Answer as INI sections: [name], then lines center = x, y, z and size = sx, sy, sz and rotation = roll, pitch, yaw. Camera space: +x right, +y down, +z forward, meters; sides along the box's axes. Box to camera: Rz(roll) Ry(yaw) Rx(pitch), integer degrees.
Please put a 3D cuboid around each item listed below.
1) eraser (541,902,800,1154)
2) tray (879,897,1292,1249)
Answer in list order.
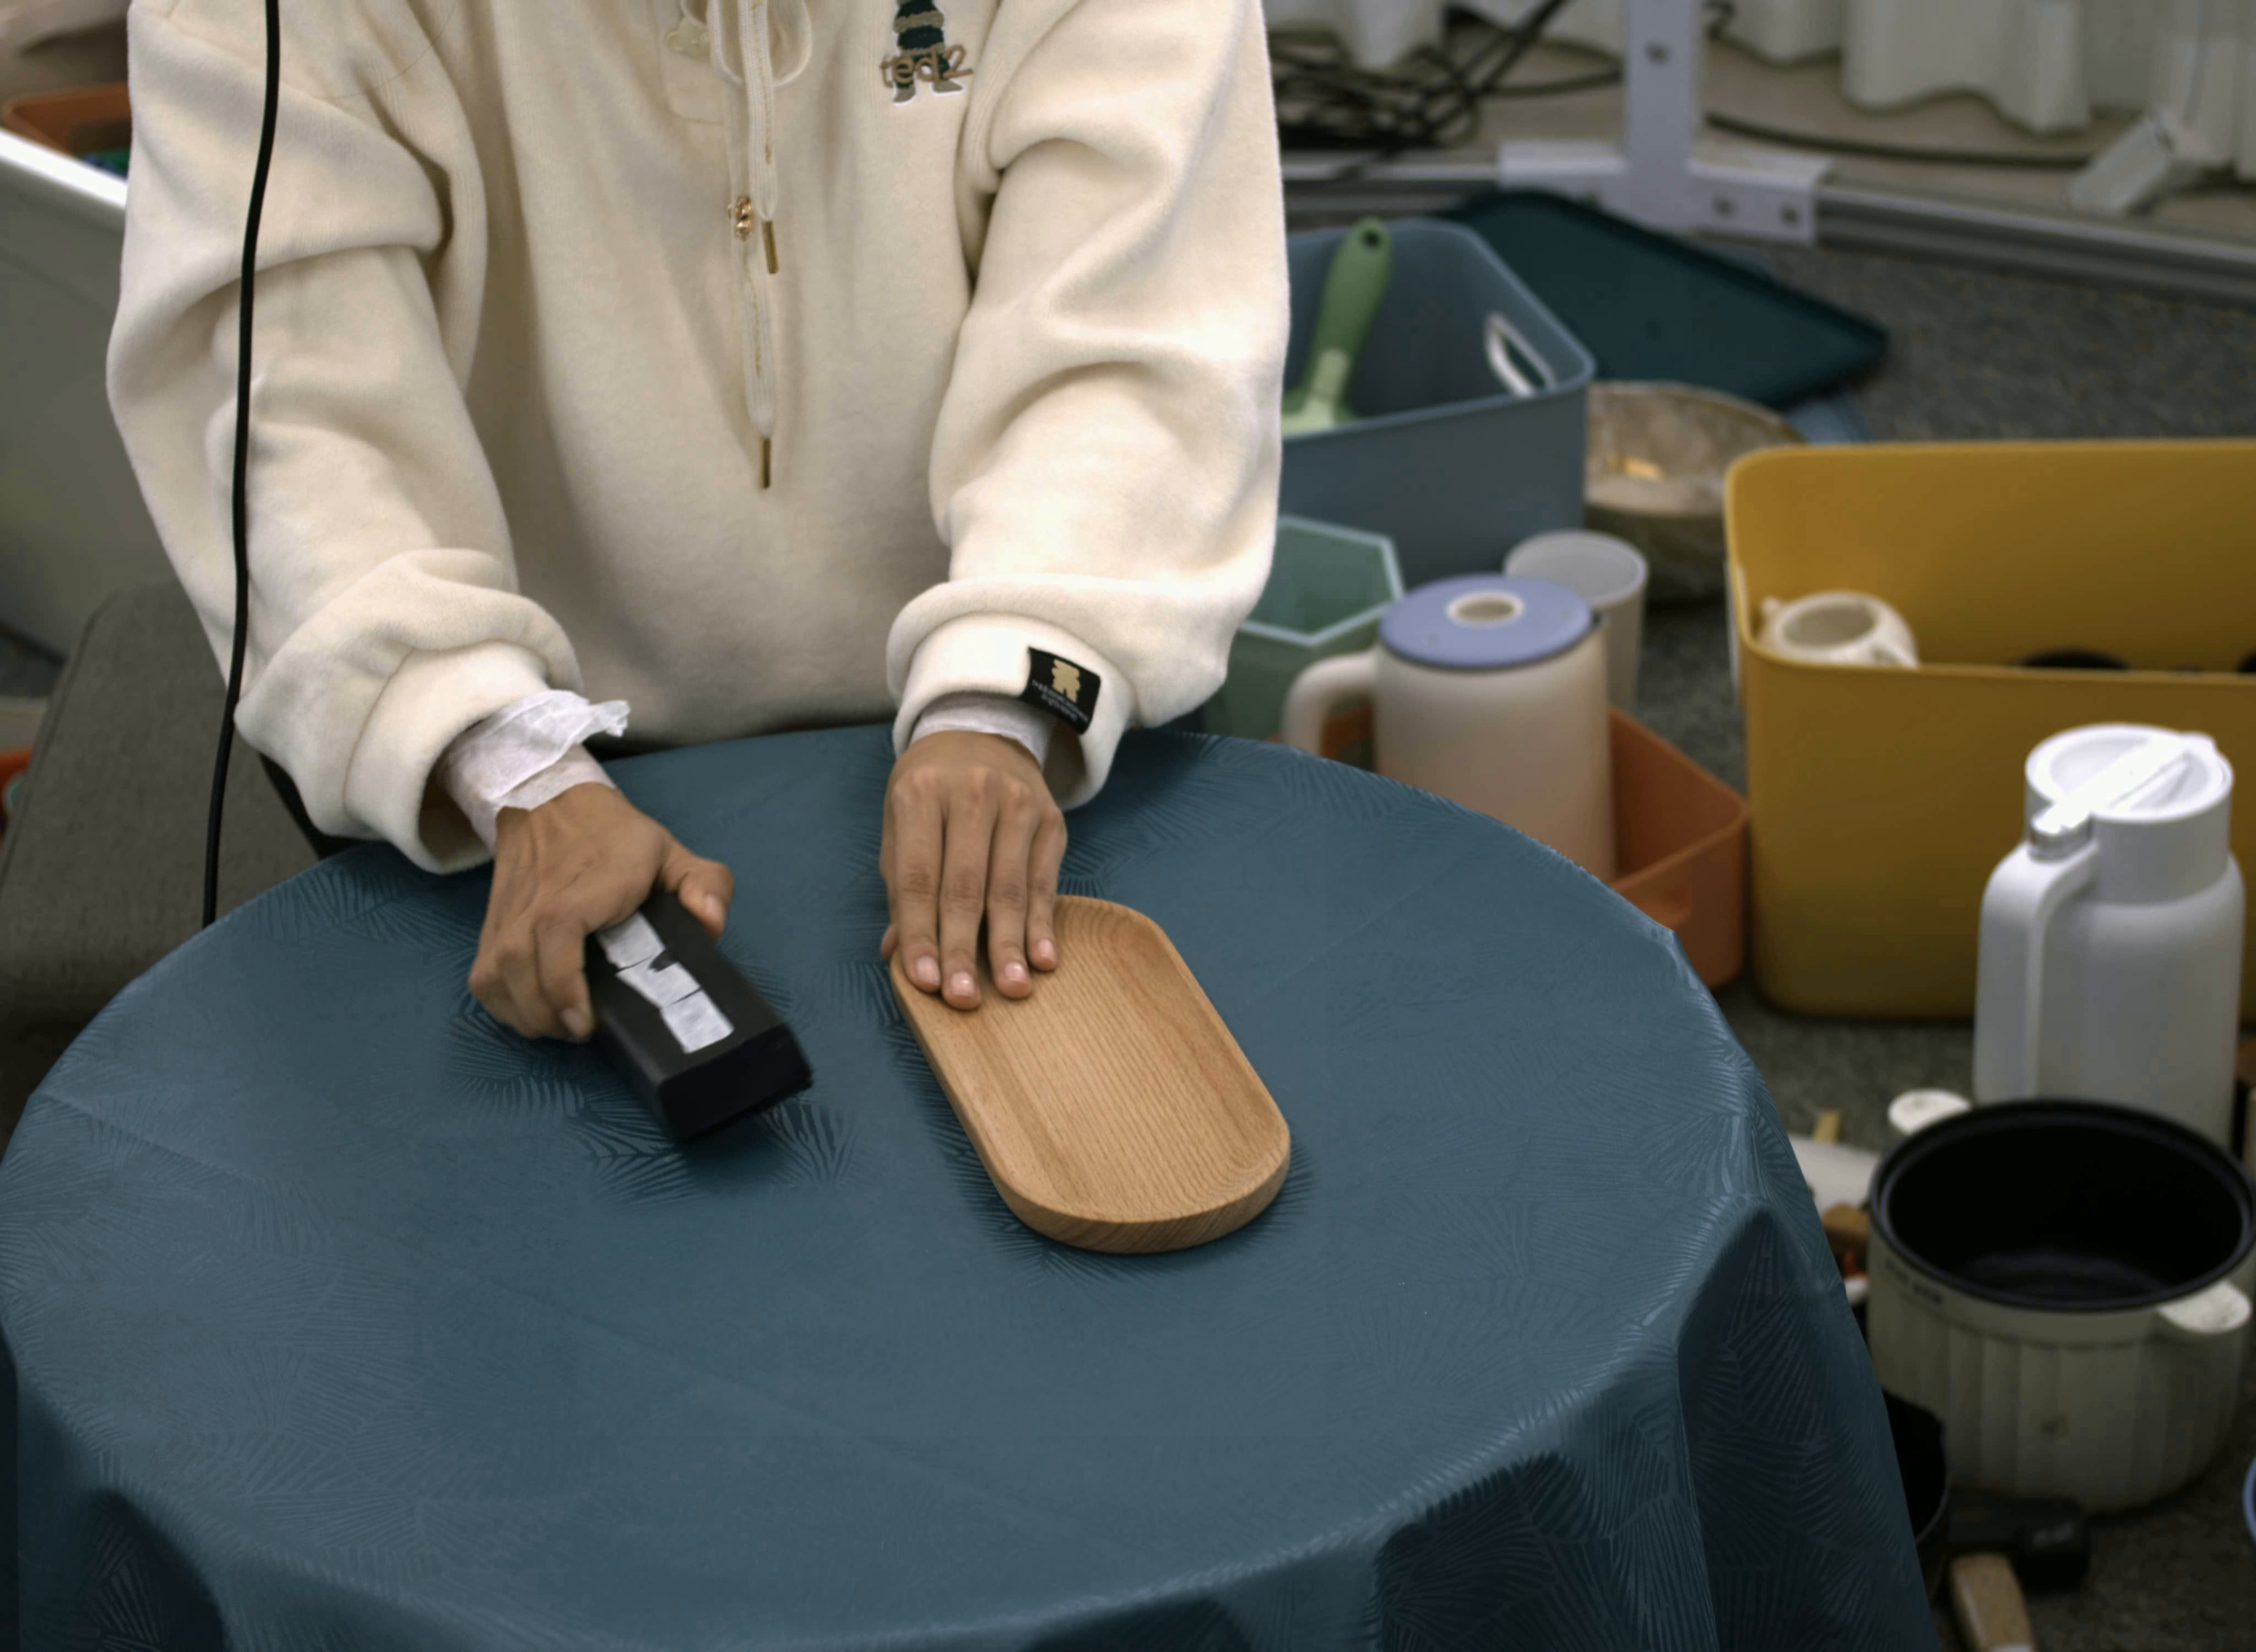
[eraser]
center = -0.157, 0.069, 1.931
size = 0.054, 0.030, 0.126
rotation = -20, 29, -16
[tray]
center = -0.016, 0.082, 1.922
size = 0.102, 0.020, 0.233
rotation = -10, 26, -15
